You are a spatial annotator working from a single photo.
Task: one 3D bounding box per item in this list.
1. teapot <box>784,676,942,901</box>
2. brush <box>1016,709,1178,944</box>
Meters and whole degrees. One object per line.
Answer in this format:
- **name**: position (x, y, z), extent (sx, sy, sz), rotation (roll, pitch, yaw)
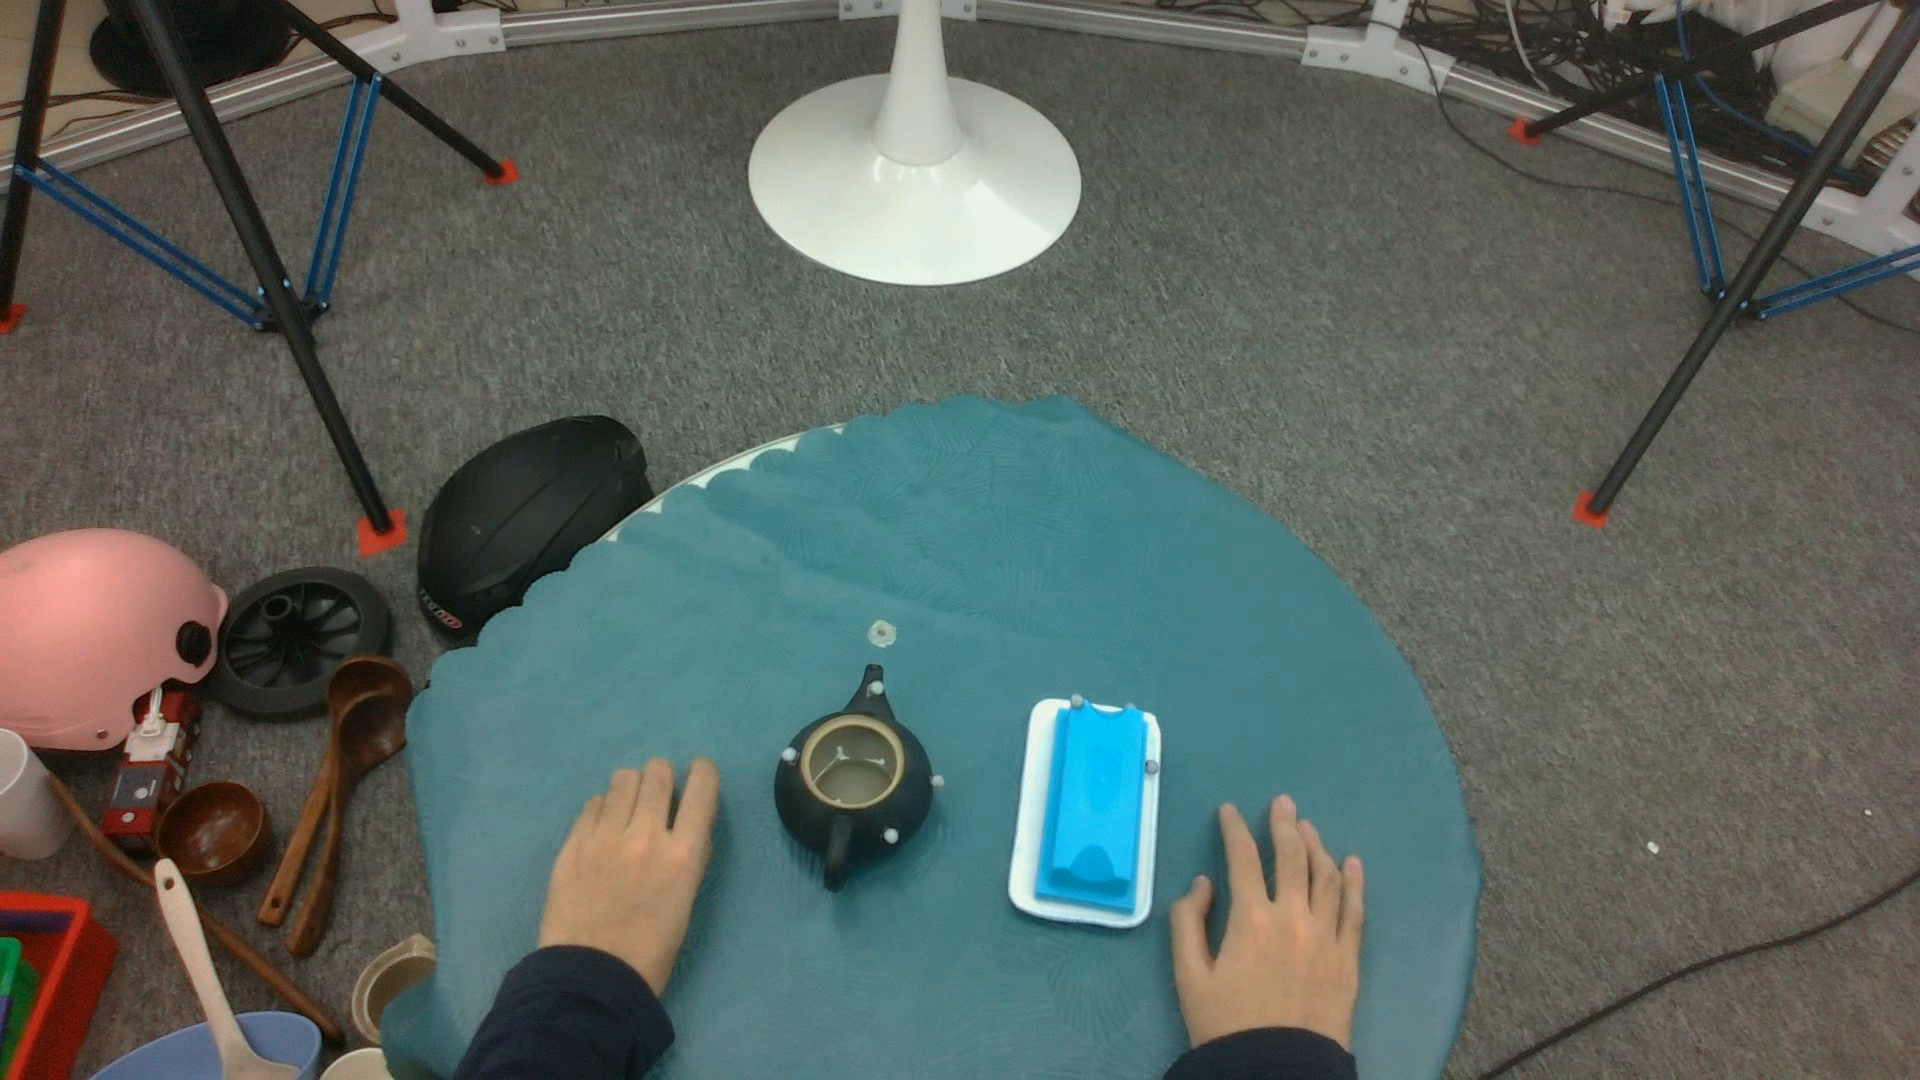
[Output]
- **teapot**: position (-0.056, 0.146, 0.791), extent (0.091, 0.053, 0.134), rotation (7, 51, 4)
- **brush**: position (0.082, 0.155, 0.787), extent (0.084, 0.055, 0.144), rotation (8, 48, 7)
